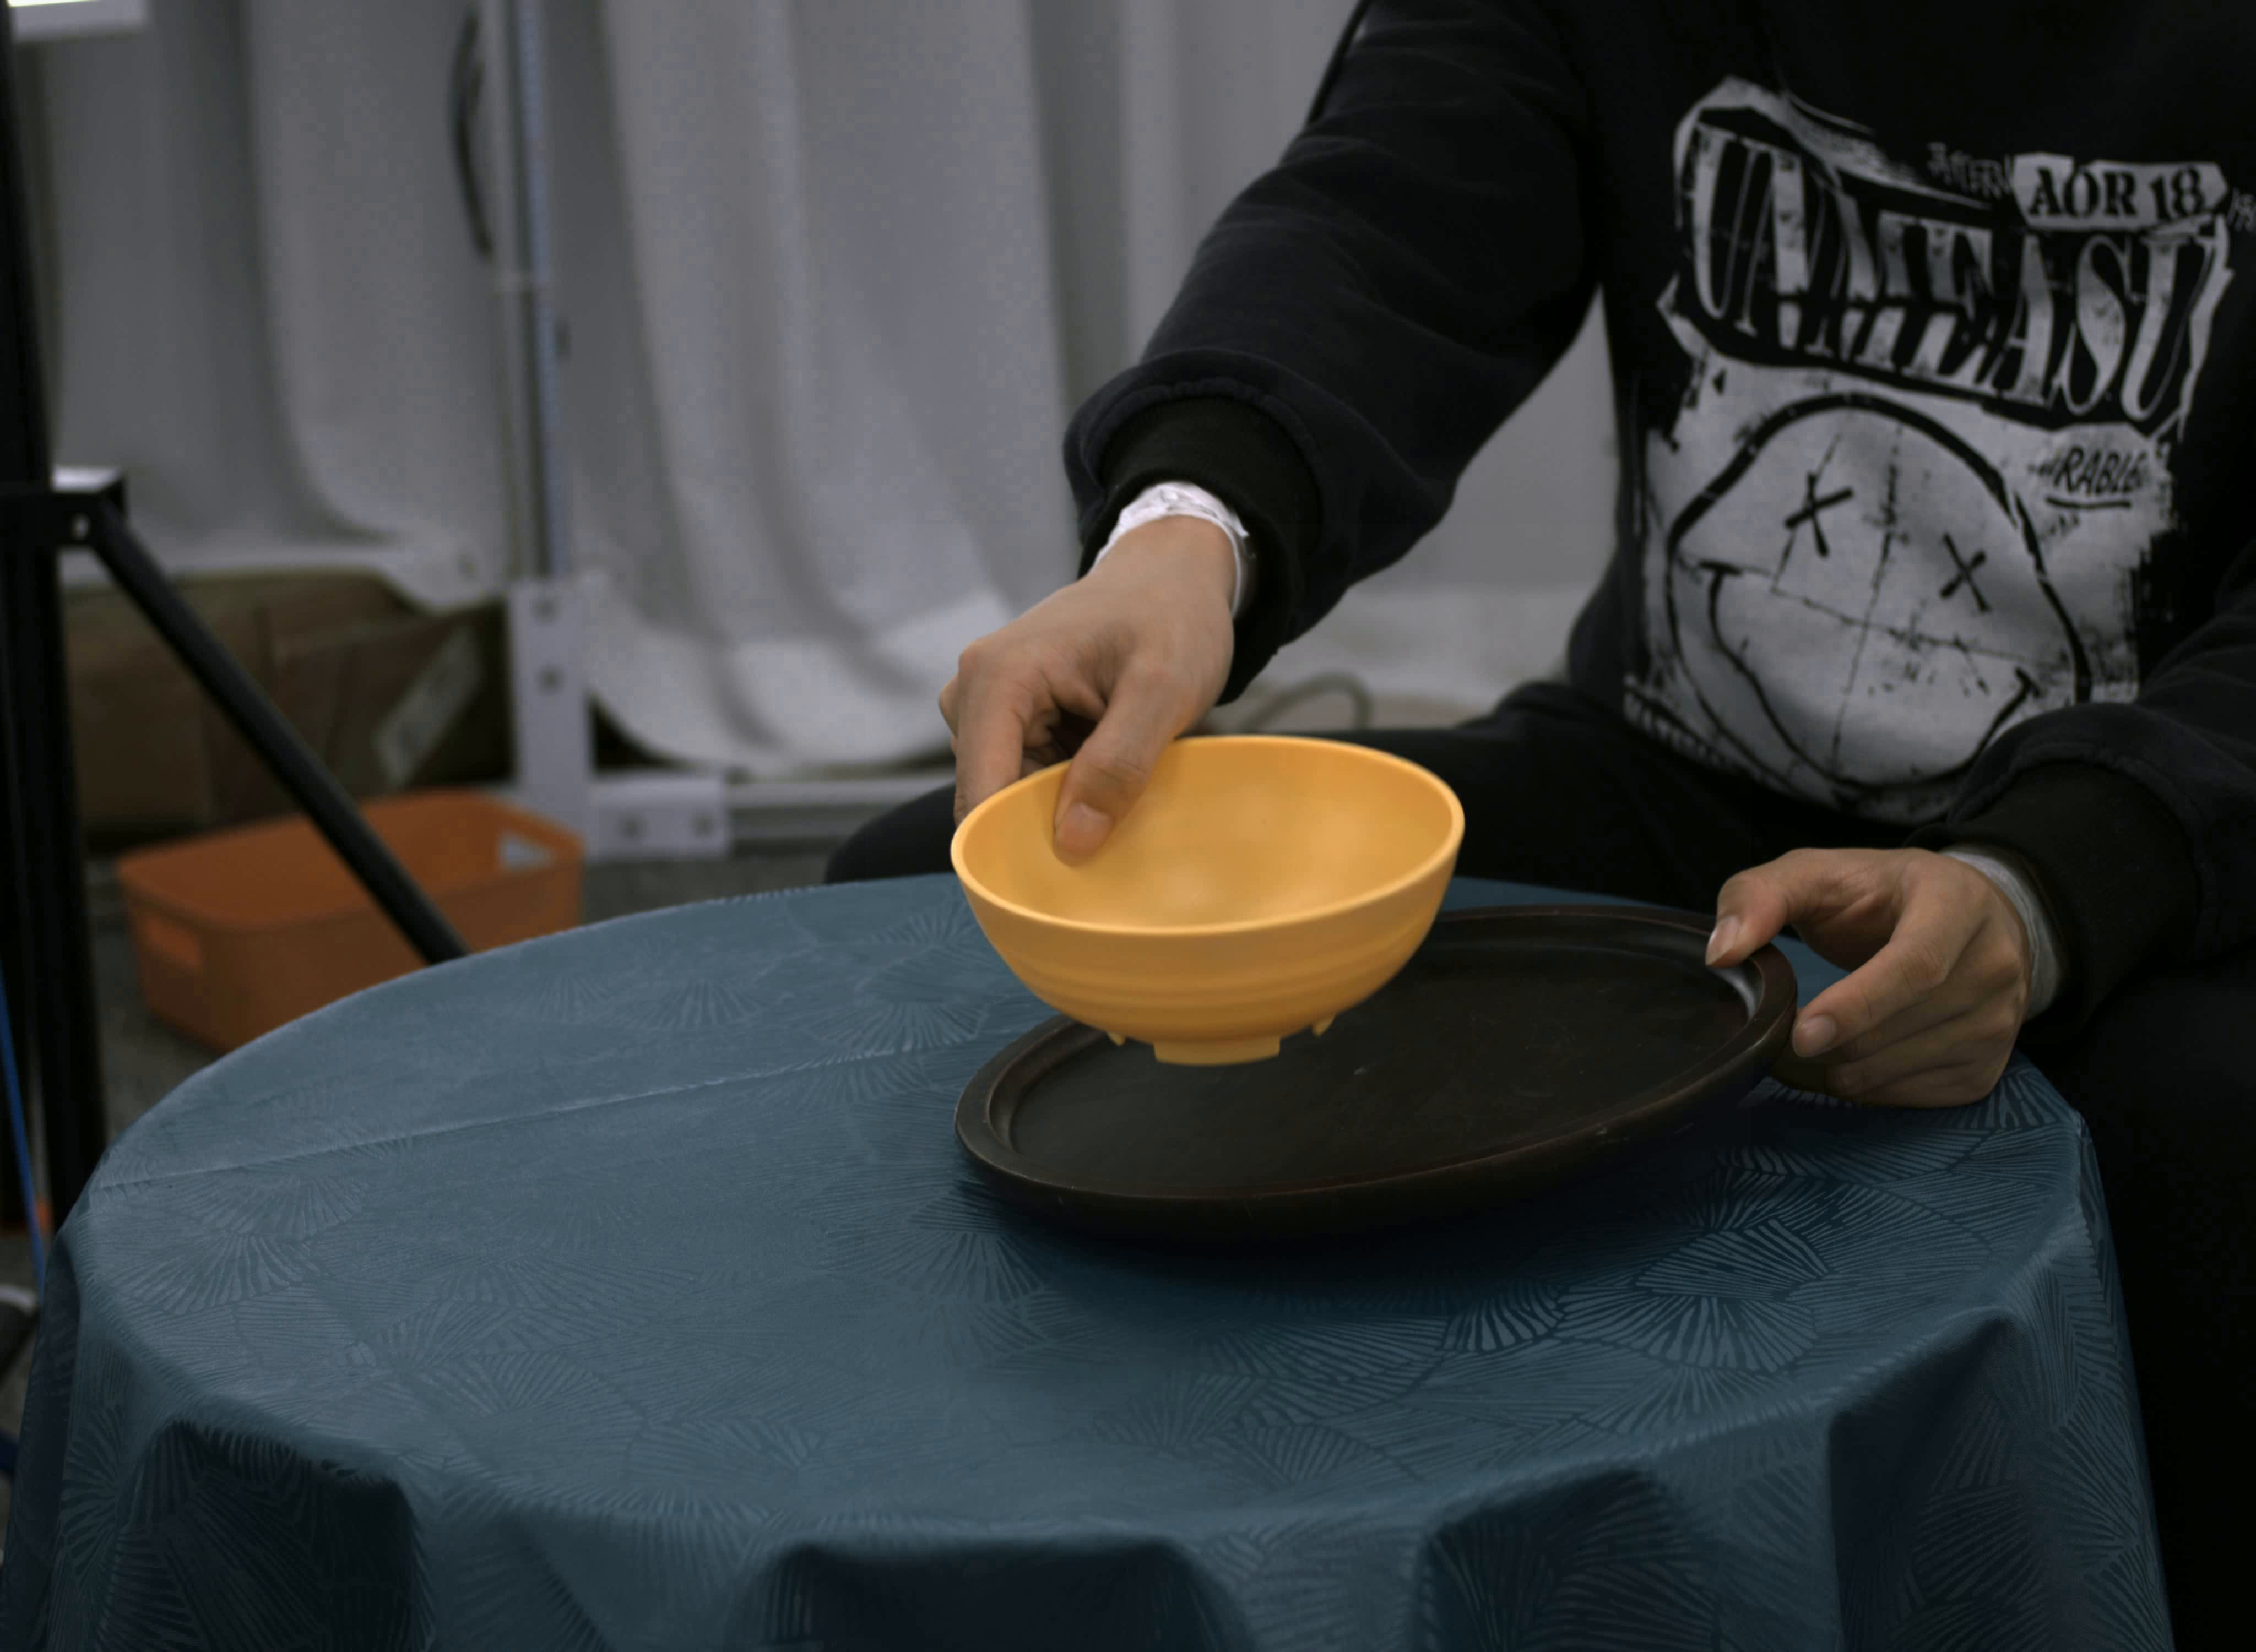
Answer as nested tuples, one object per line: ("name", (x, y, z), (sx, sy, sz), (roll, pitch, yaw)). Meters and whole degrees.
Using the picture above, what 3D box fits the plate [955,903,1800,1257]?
("plate", (0.074, 0.074, 1.570), (0.254, 0.029, 0.256), (-12, 14, 1))

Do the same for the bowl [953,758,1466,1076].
("bowl", (0.024, 0.031, 1.497), (0.144, 0.060, 0.146), (-3, 20, 0))
